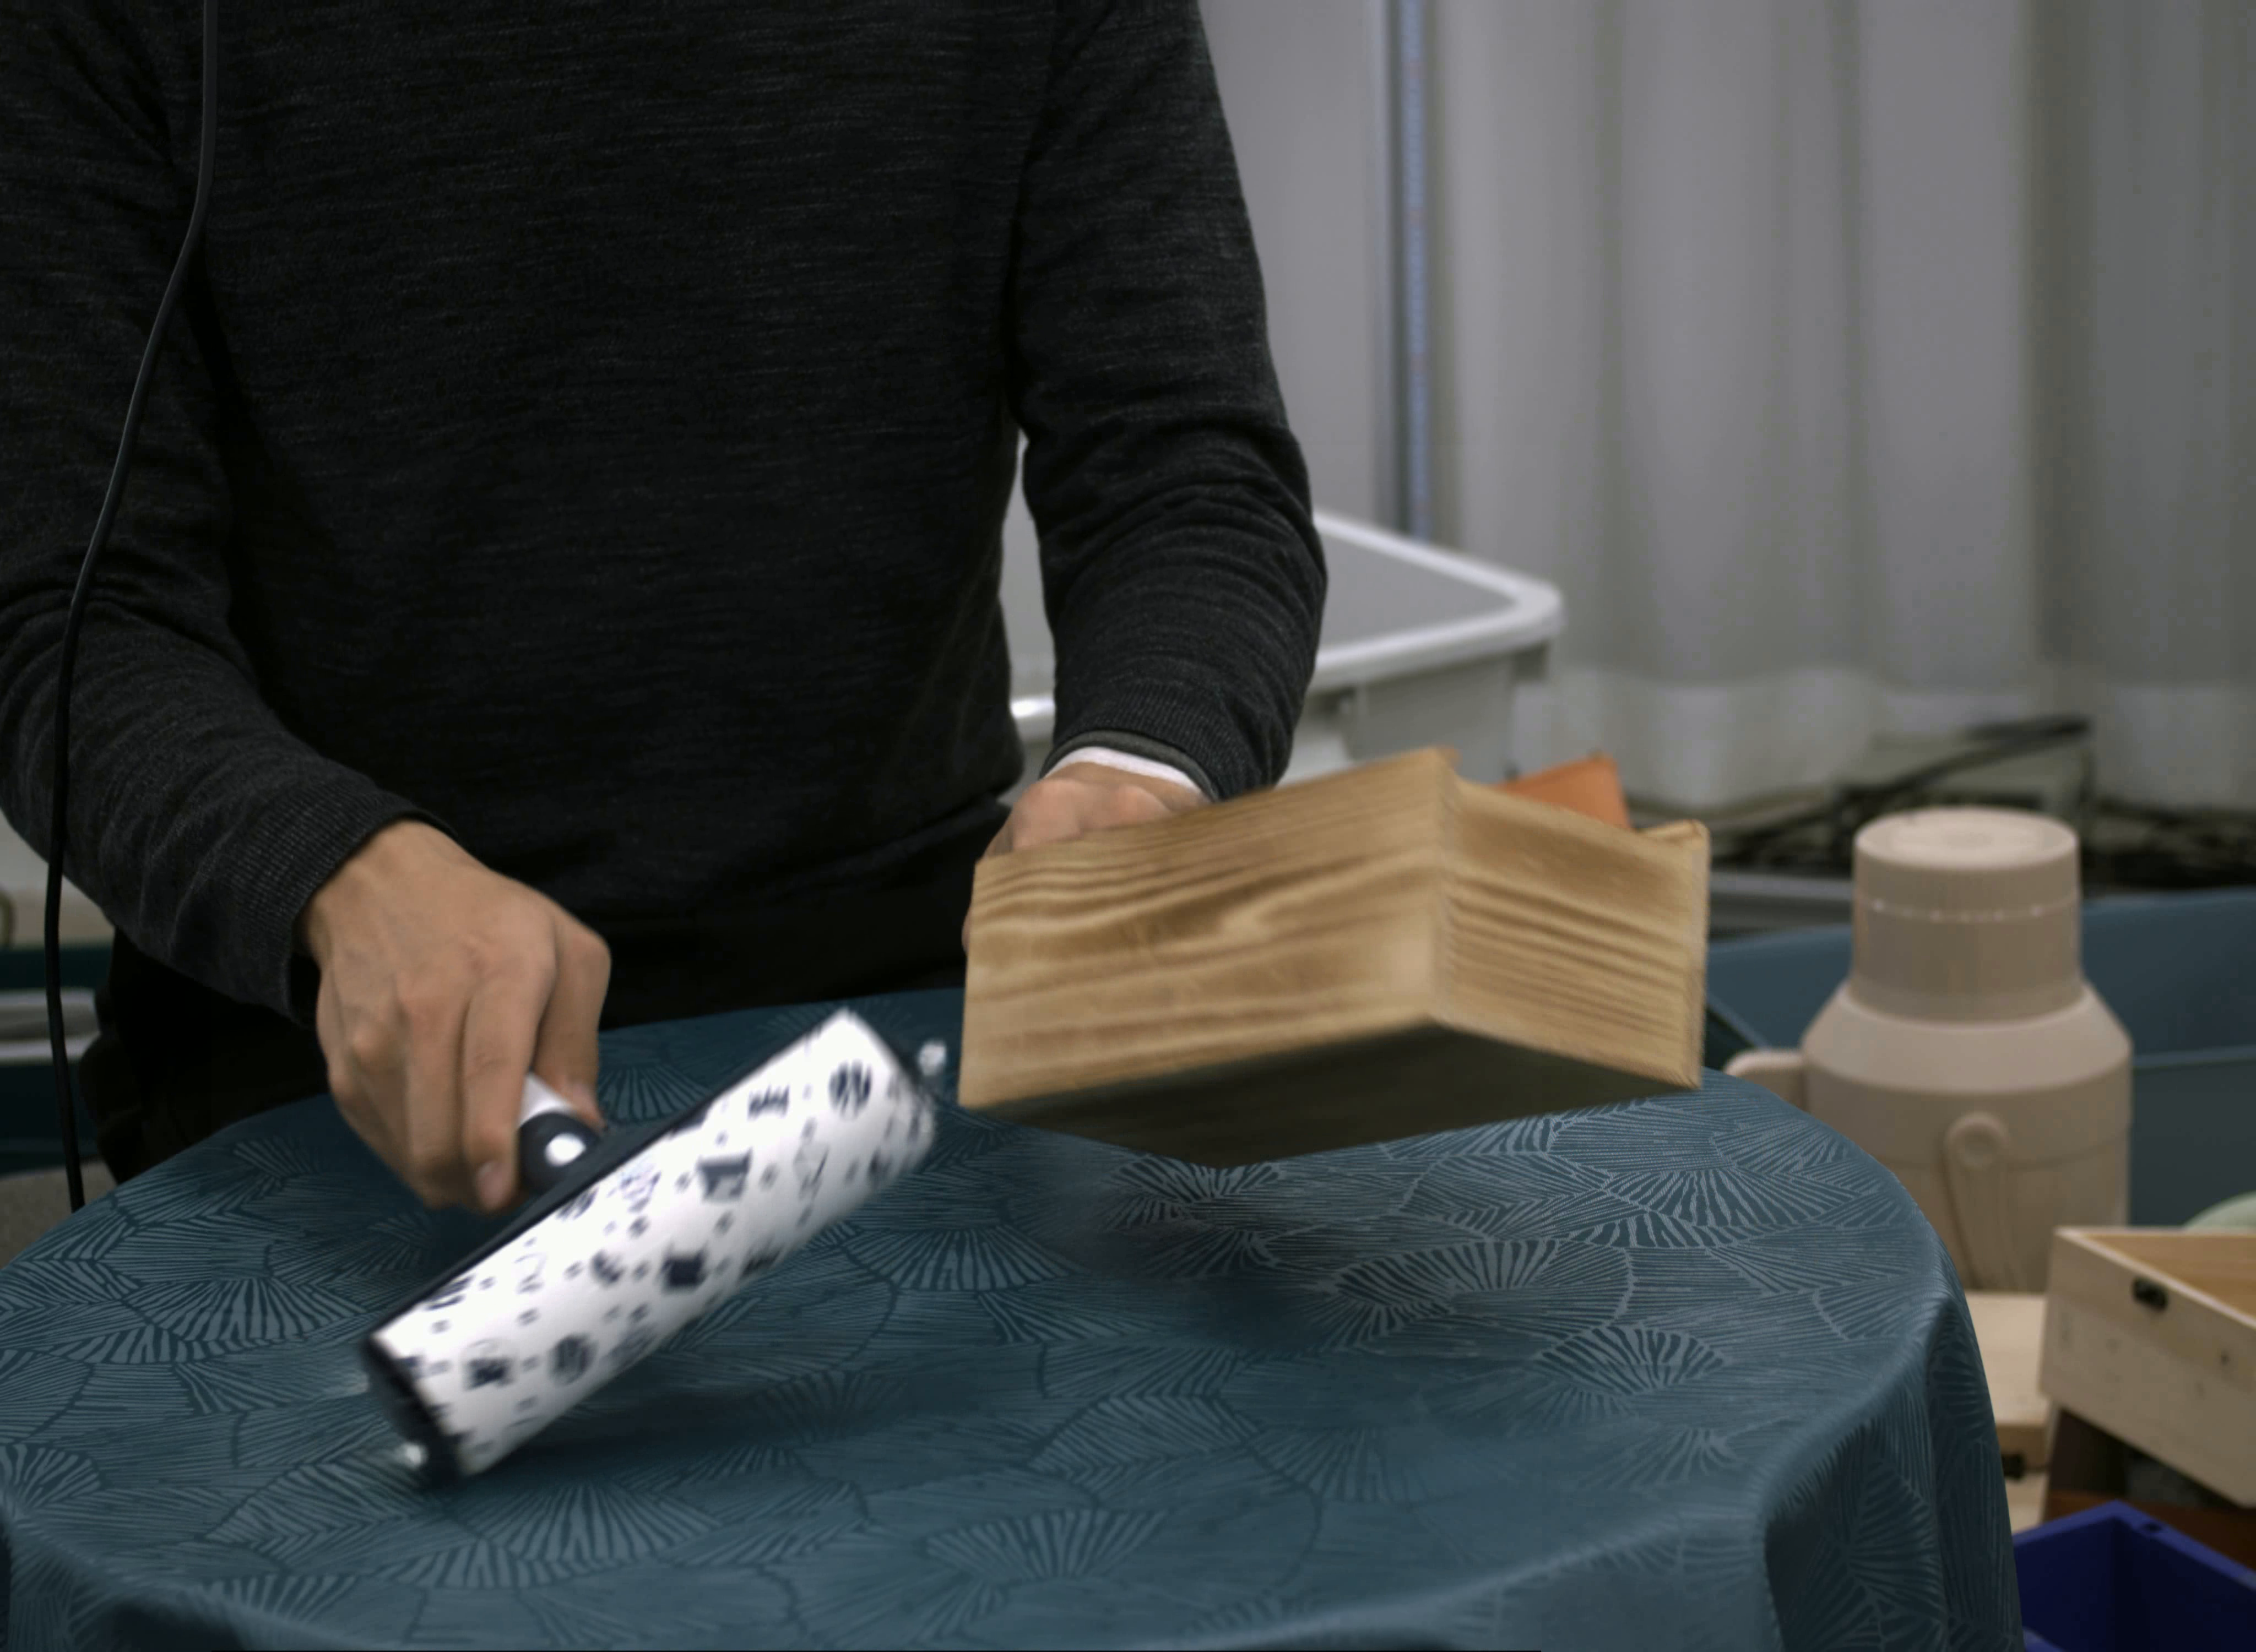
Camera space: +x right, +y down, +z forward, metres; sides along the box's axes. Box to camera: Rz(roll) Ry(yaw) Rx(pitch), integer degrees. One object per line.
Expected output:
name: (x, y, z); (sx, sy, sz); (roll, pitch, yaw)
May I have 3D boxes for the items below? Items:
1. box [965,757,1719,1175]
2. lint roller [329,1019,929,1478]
box: (0.060, 0.045, 1.612); (0.106, 0.081, 0.211); (16, -19, -39)
lint roller: (-0.178, 0.095, 1.608); (0.176, 0.050, 0.249); (-32, 26, -15)
